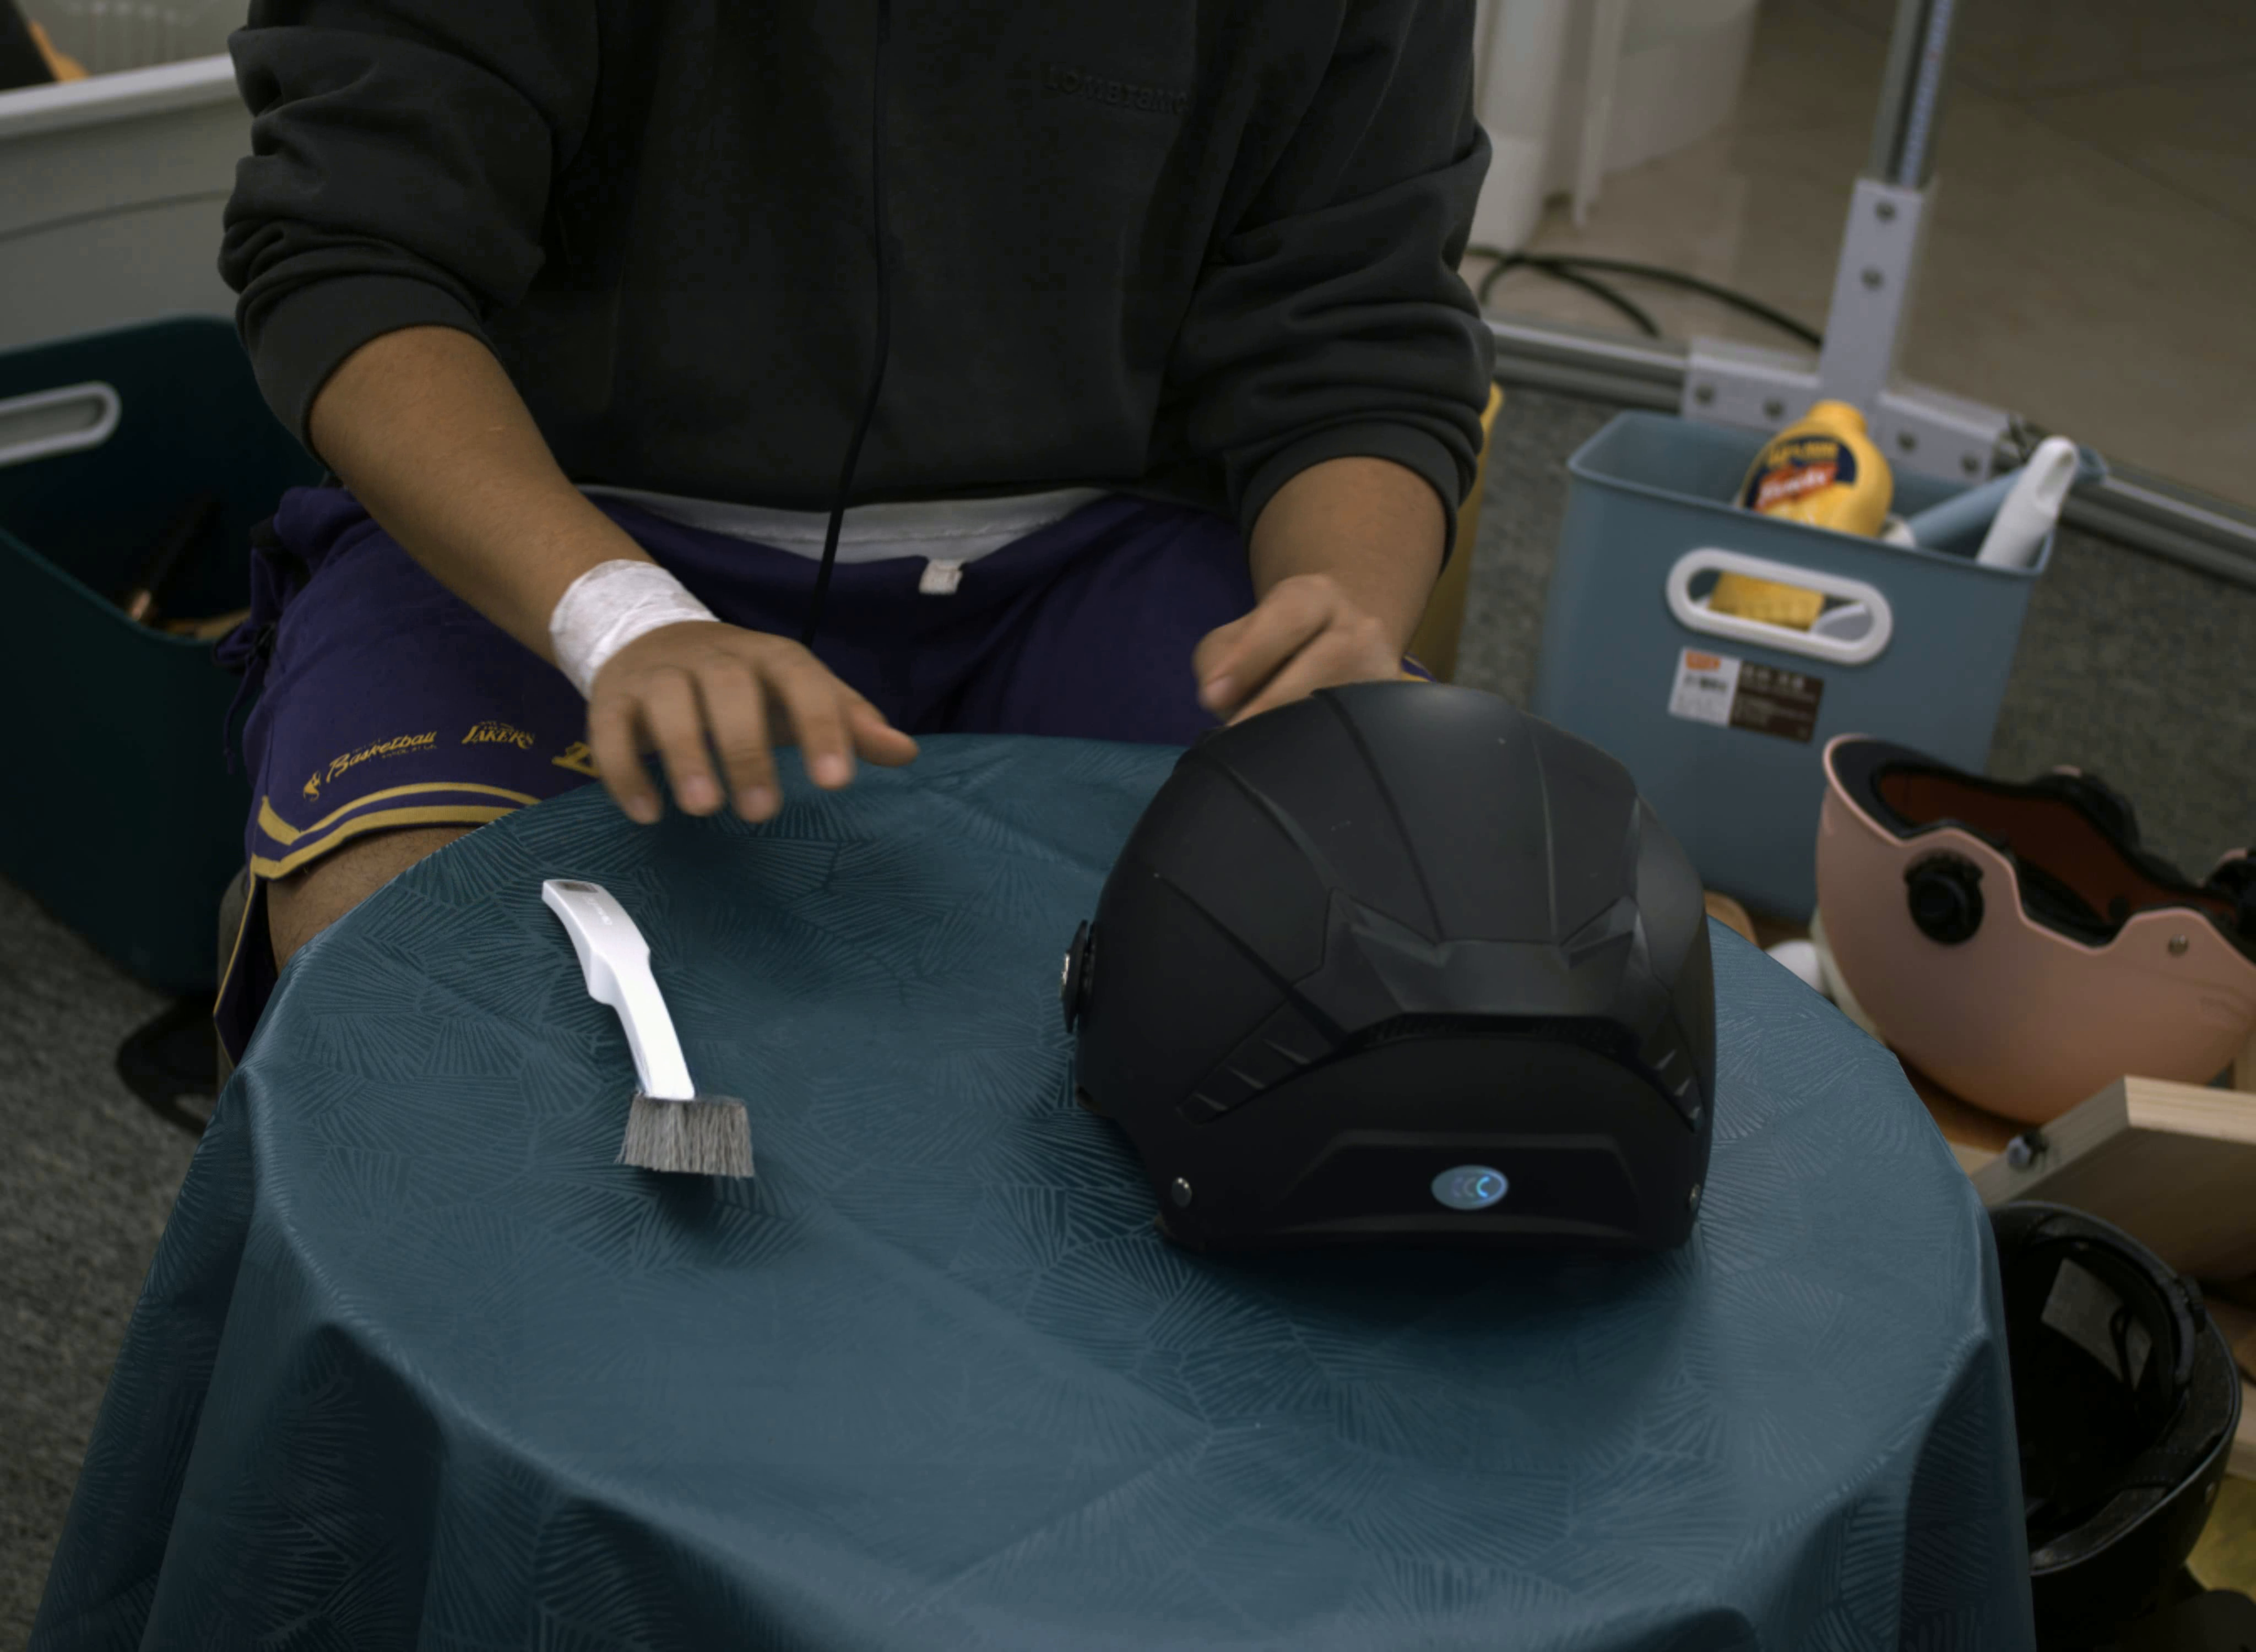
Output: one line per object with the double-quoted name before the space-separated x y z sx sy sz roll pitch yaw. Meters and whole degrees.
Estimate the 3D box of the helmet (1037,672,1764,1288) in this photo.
"helmet" 0.100 0.036 1.820 0.245 0.172 0.279 3 29 -8

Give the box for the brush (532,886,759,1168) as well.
"brush" -0.172 0.072 1.838 0.034 0.050 0.245 4 13 -20
